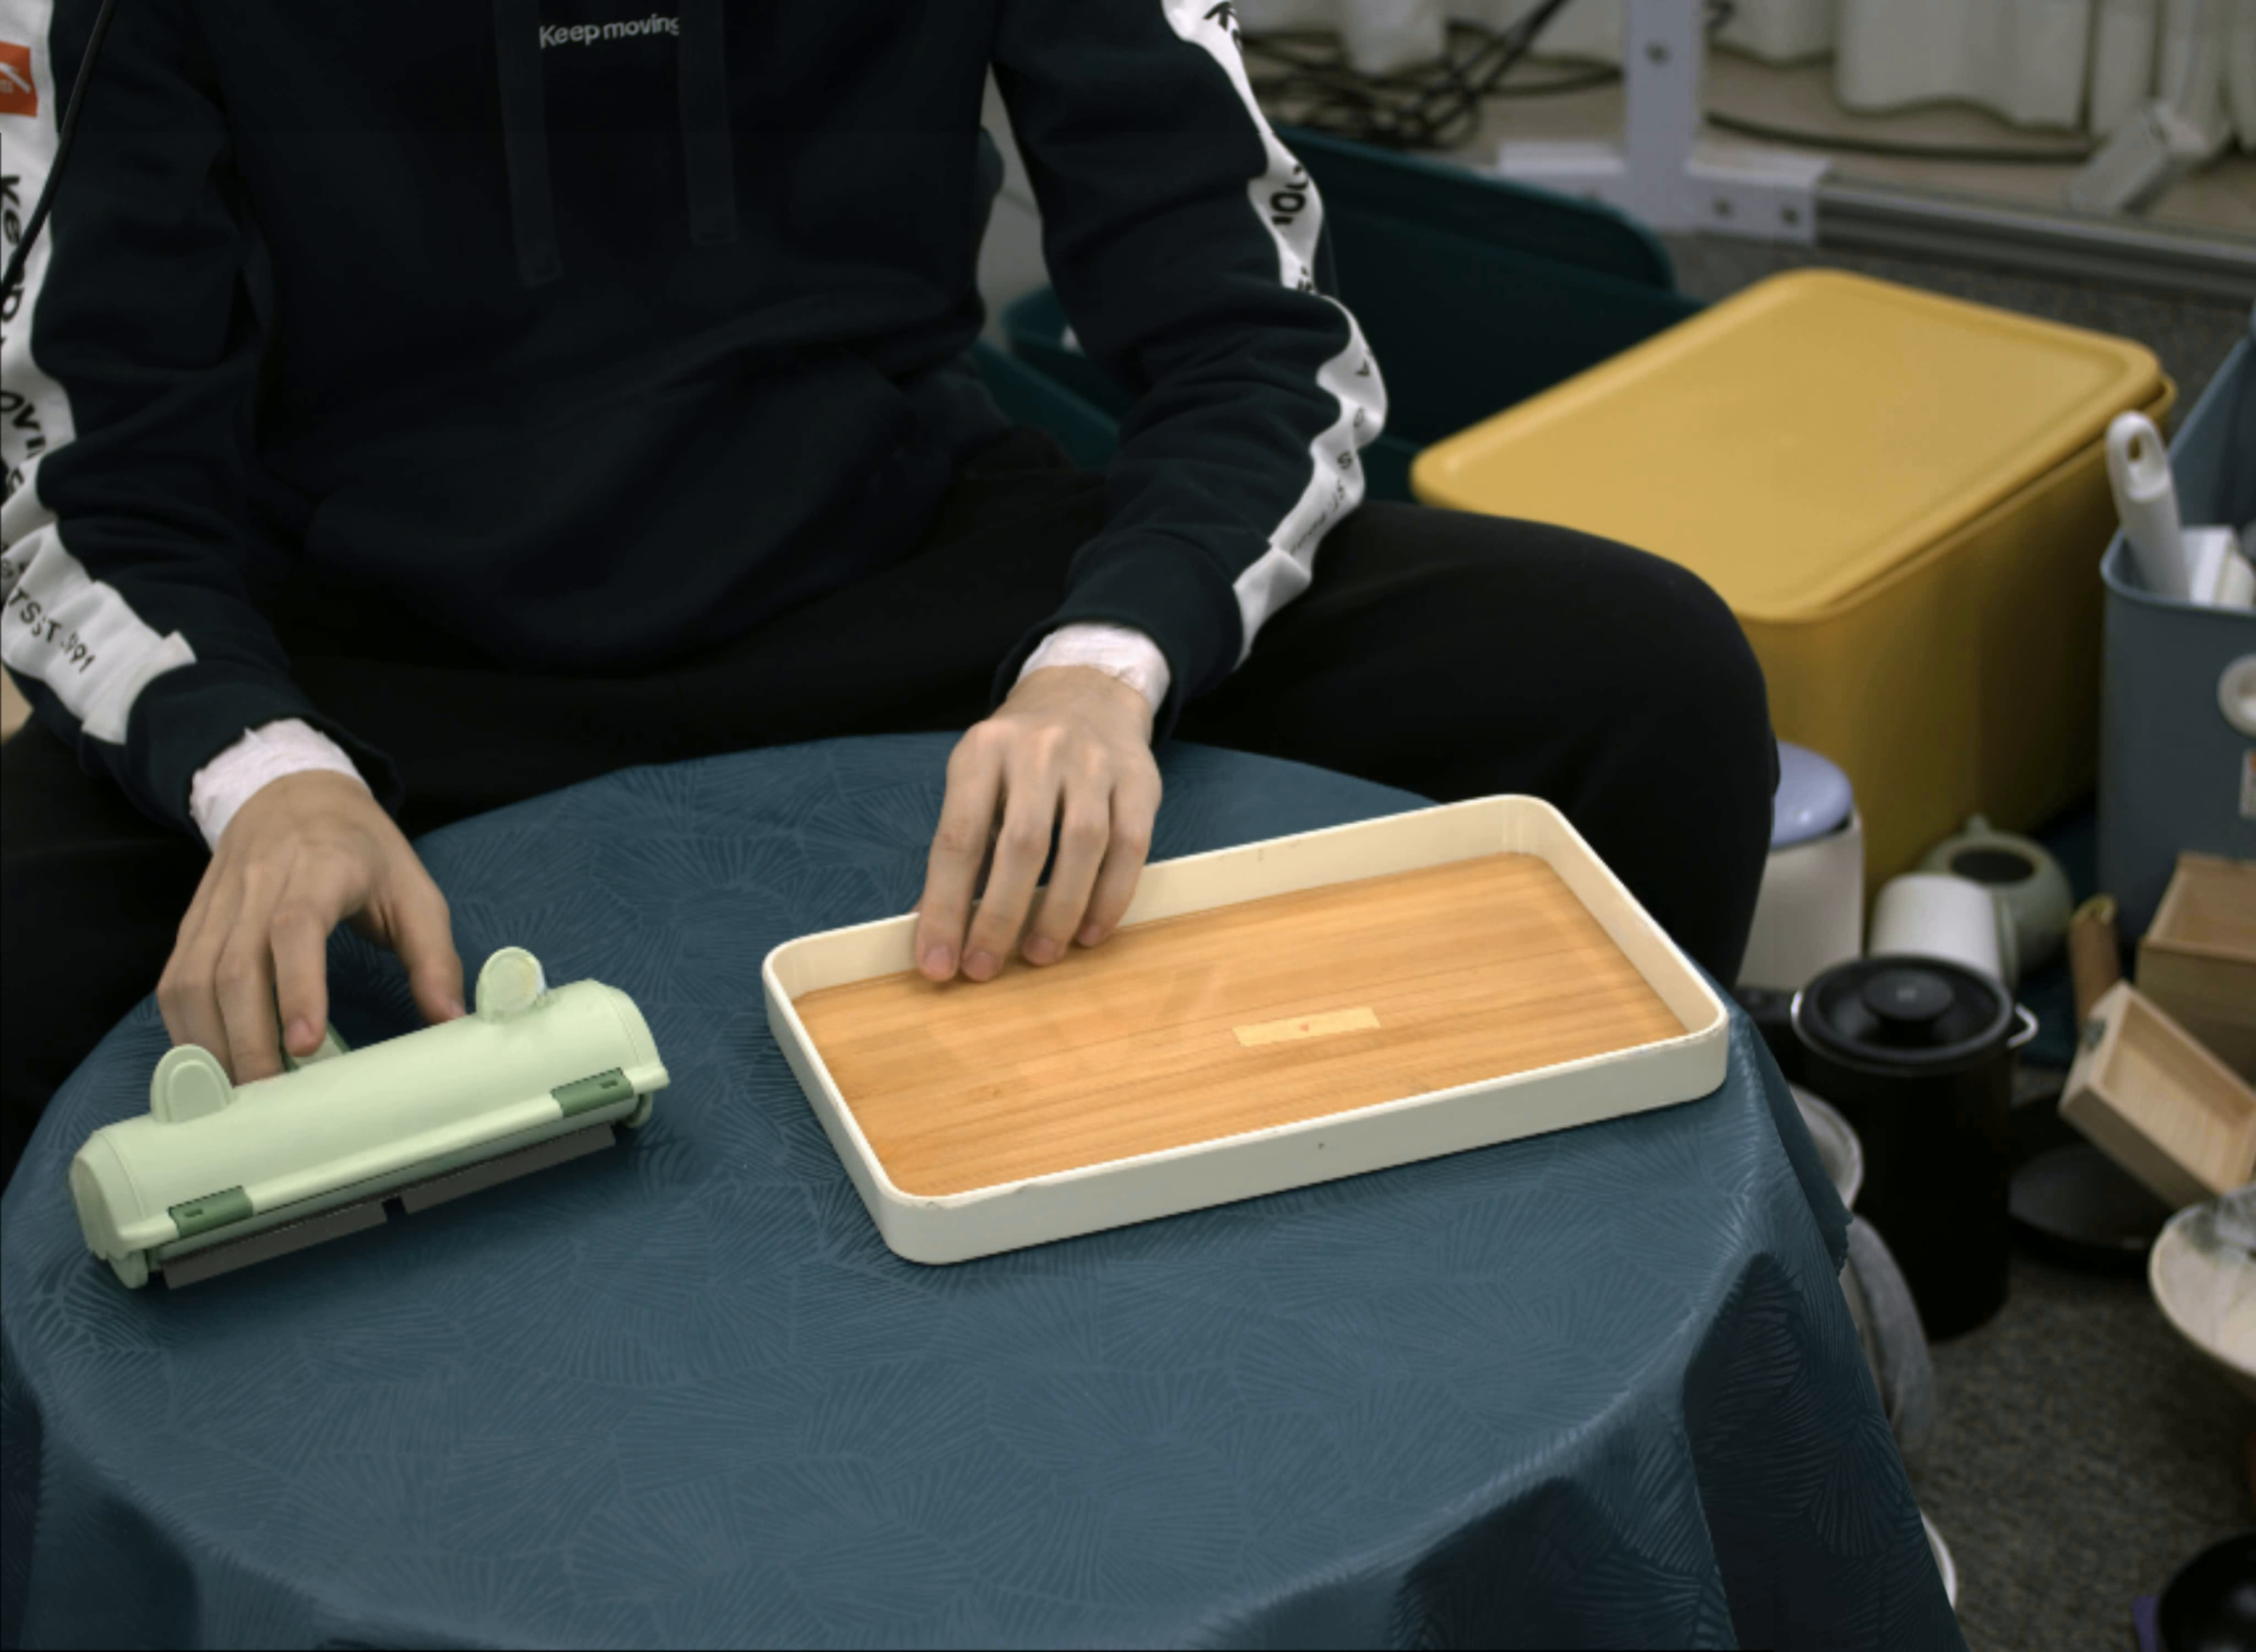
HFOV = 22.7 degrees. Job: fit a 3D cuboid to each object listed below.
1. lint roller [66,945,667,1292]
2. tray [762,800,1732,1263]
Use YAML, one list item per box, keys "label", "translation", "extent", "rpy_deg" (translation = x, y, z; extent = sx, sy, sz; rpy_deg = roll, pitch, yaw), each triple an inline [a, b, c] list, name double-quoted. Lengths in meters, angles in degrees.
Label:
- label: "lint roller"
  translation: [-0.279, 0.071, 1.904]
  extent: [0.200, 0.081, 0.184]
  rpy_deg: [-17, 35, -24]
- label: "tray"
  translation: [0.038, 0.067, 1.933]
  extent: [0.300, 0.027, 0.193]
  rpy_deg: [-11, 28, -15]
